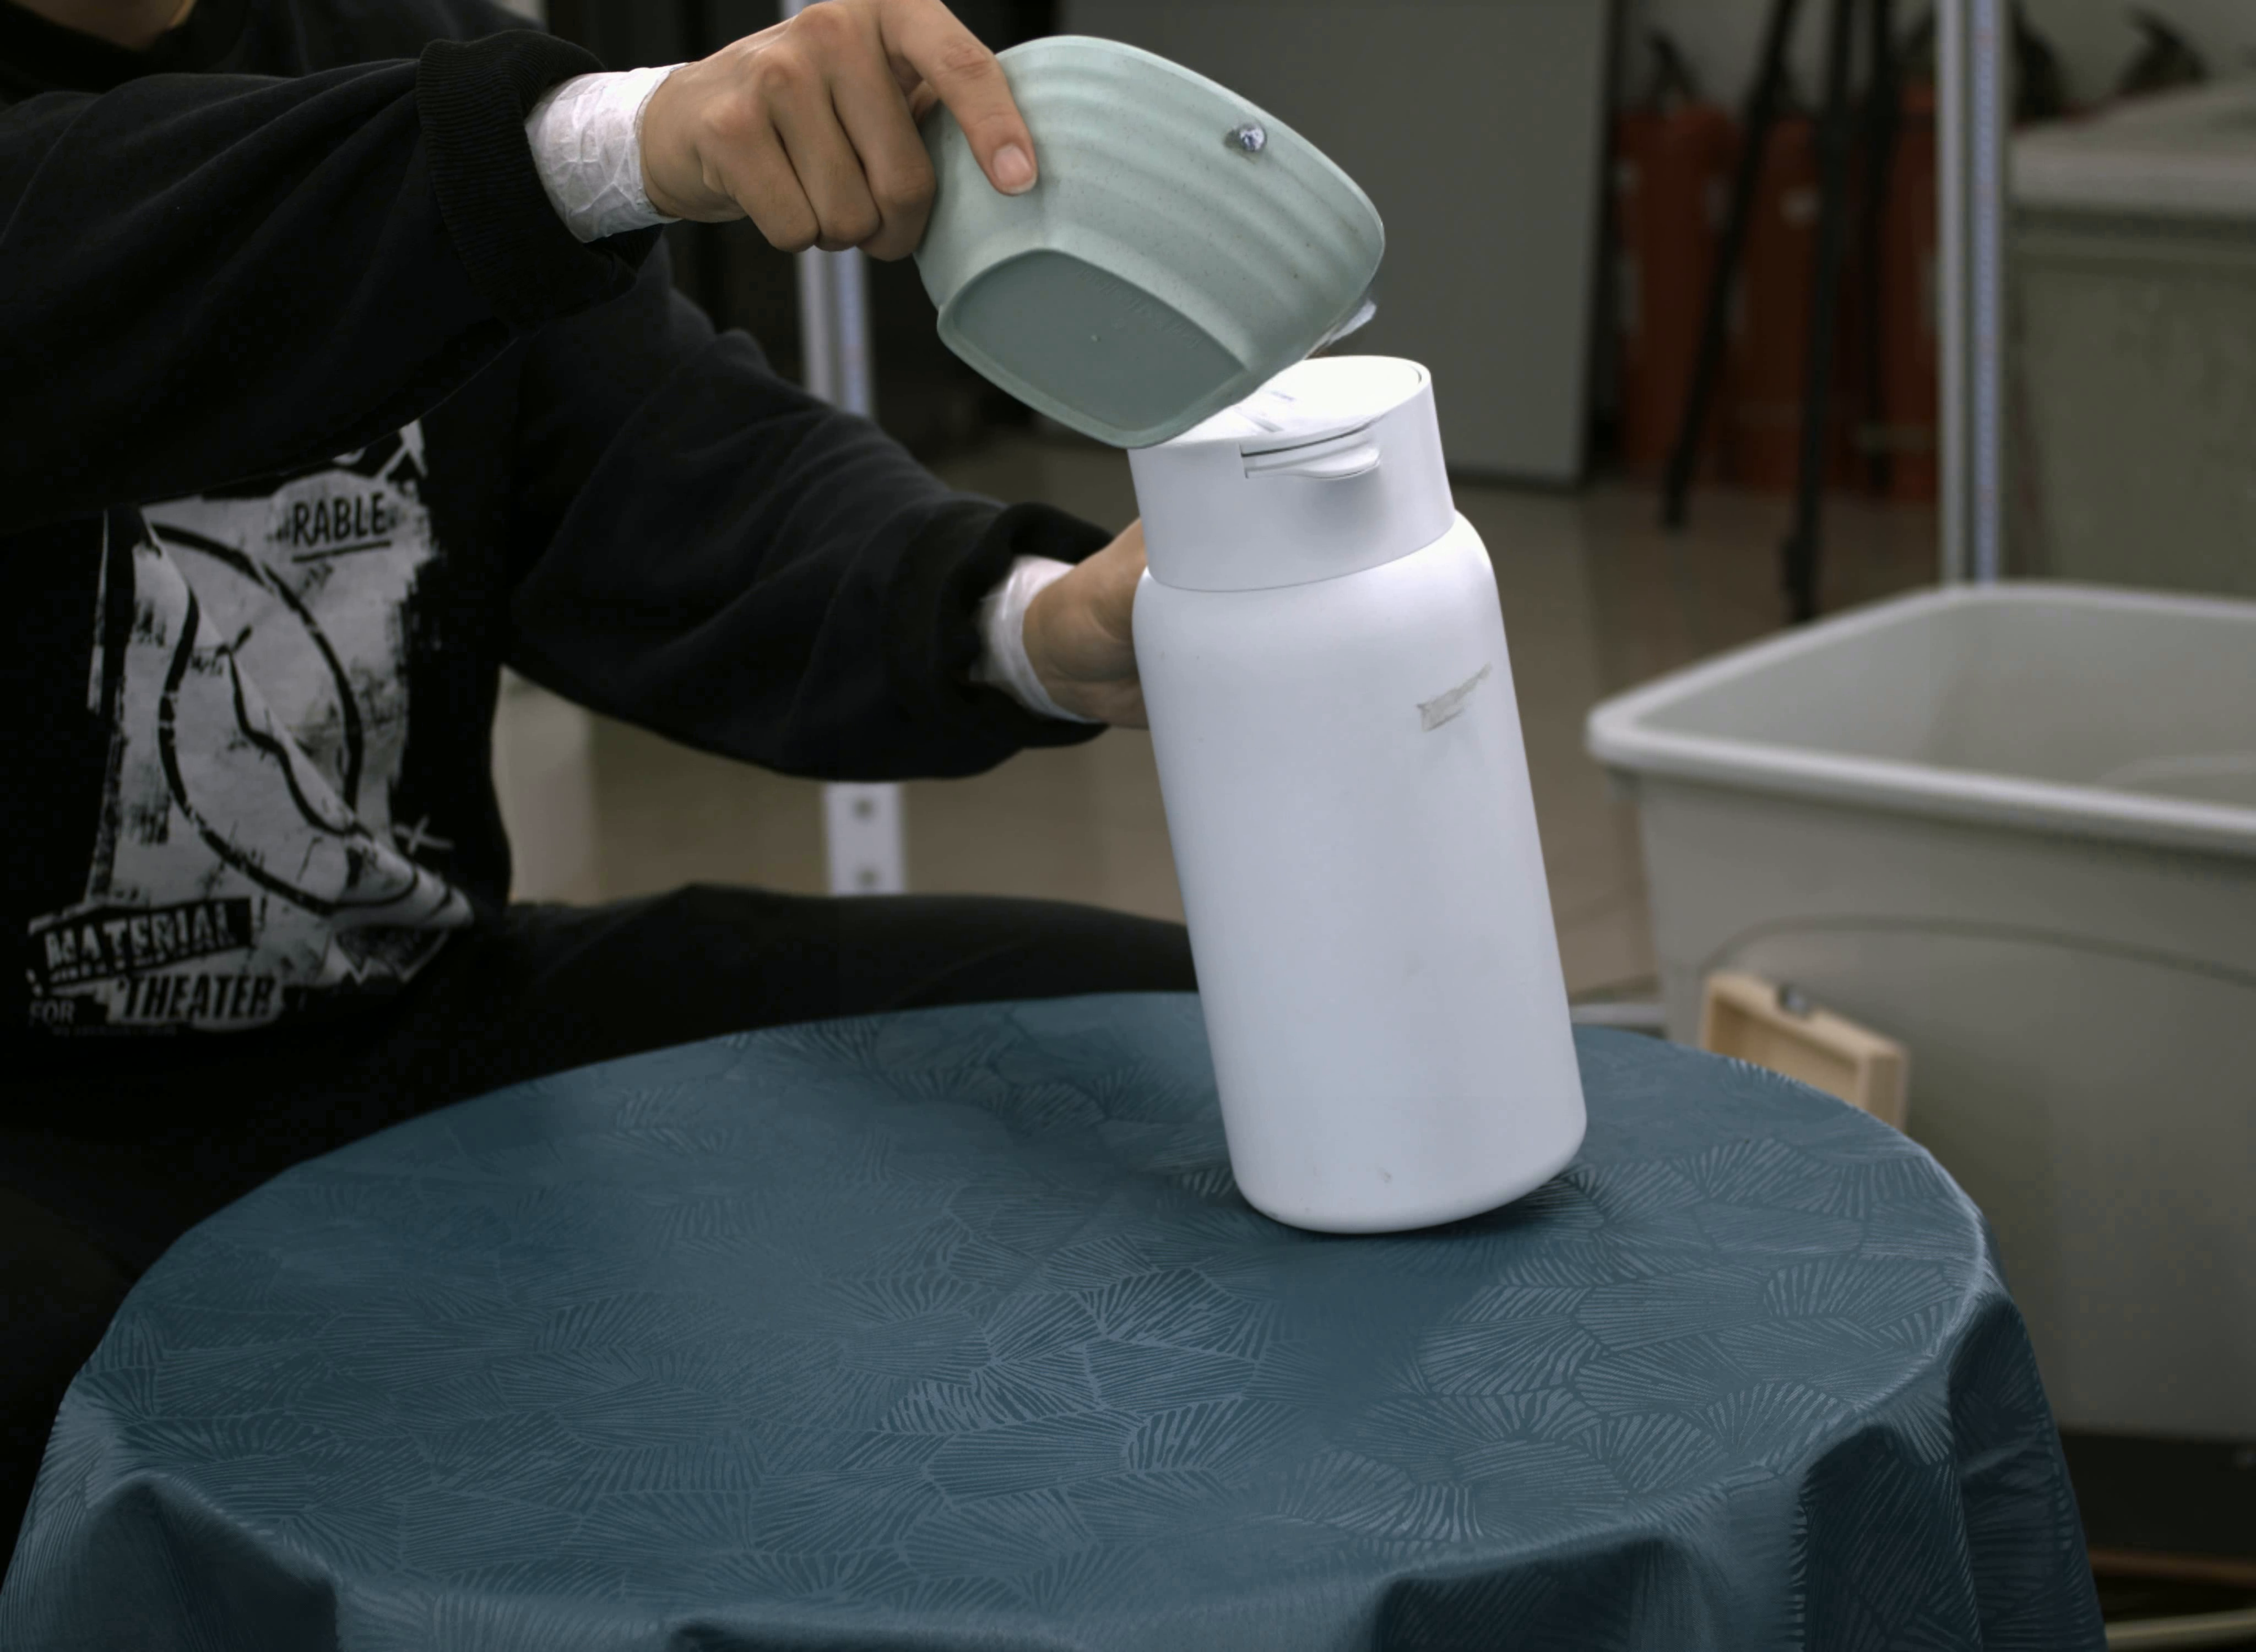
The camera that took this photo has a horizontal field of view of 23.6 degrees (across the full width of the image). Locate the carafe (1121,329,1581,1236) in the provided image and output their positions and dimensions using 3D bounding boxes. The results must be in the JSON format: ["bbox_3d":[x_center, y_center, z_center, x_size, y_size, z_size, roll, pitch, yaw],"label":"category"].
[{"bbox_3d":[0.061,-0.016,1.731,0.122,0.271,0.174,-18,18,-14],"label":"carafe"}]

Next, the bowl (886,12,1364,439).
[{"bbox_3d":[-0.009,-0.166,1.585,0.152,0.150,0.059,4,57,27],"label":"bowl"}]
